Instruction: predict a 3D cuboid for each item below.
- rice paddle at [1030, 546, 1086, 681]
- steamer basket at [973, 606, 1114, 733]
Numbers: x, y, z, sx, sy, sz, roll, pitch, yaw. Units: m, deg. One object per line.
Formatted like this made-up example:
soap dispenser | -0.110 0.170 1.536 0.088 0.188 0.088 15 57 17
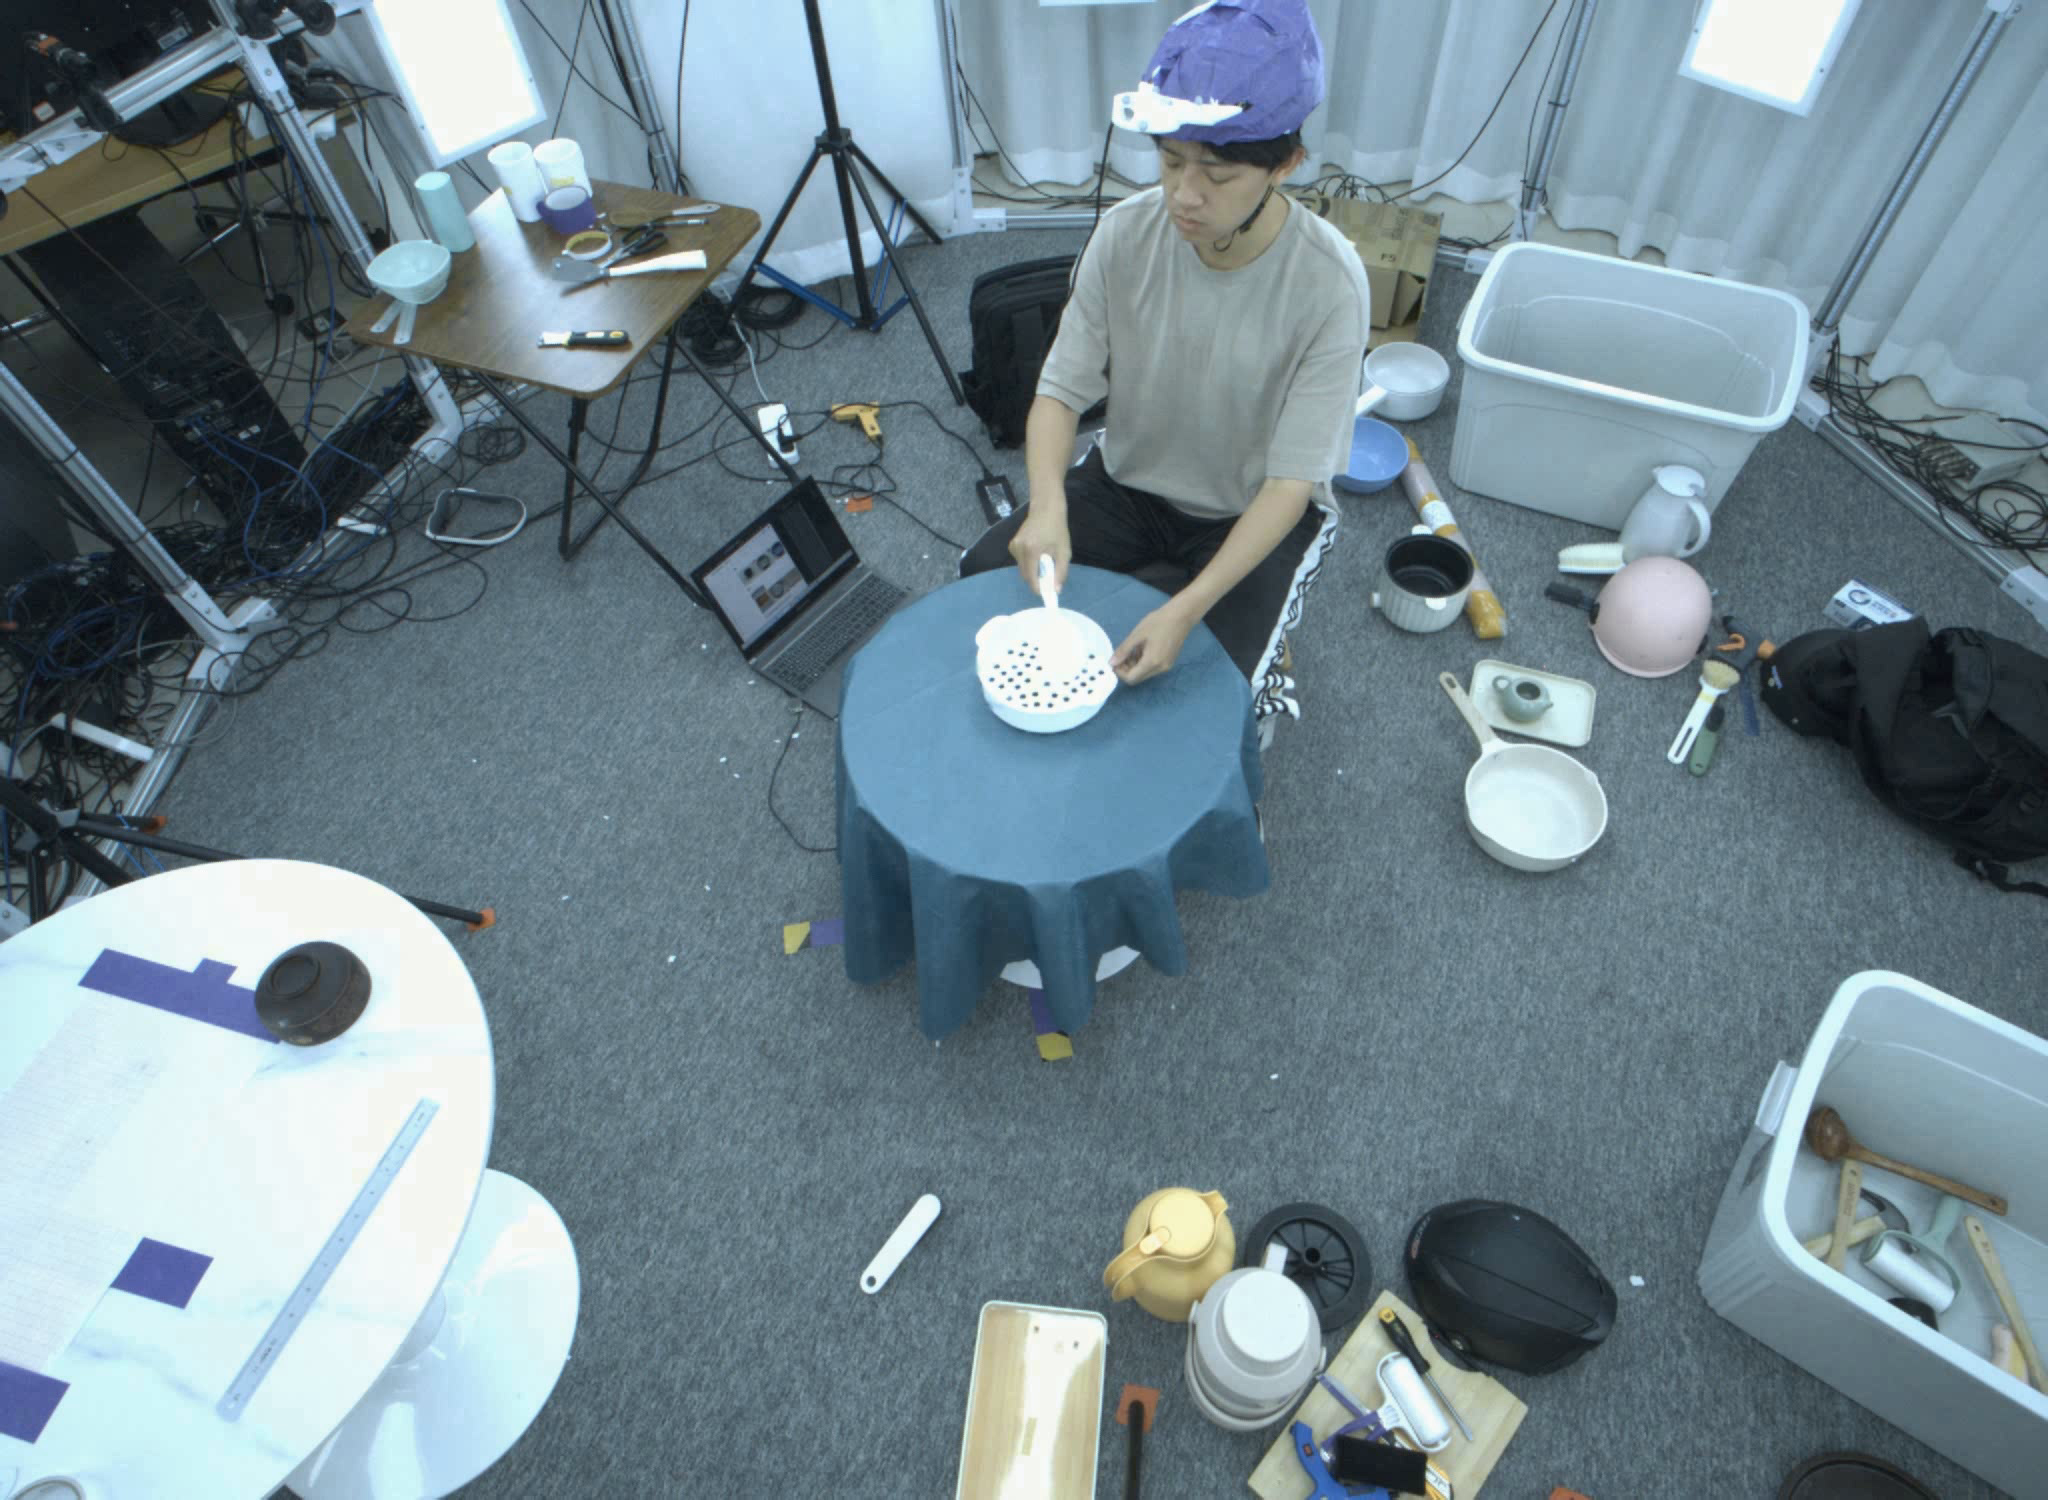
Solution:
rice paddle | 0.044 -0.196 1.772 0.068 0.030 0.204 -16 76 19
steamer basket | 0.028 -0.118 1.828 0.227 0.070 0.203 32 62 20
